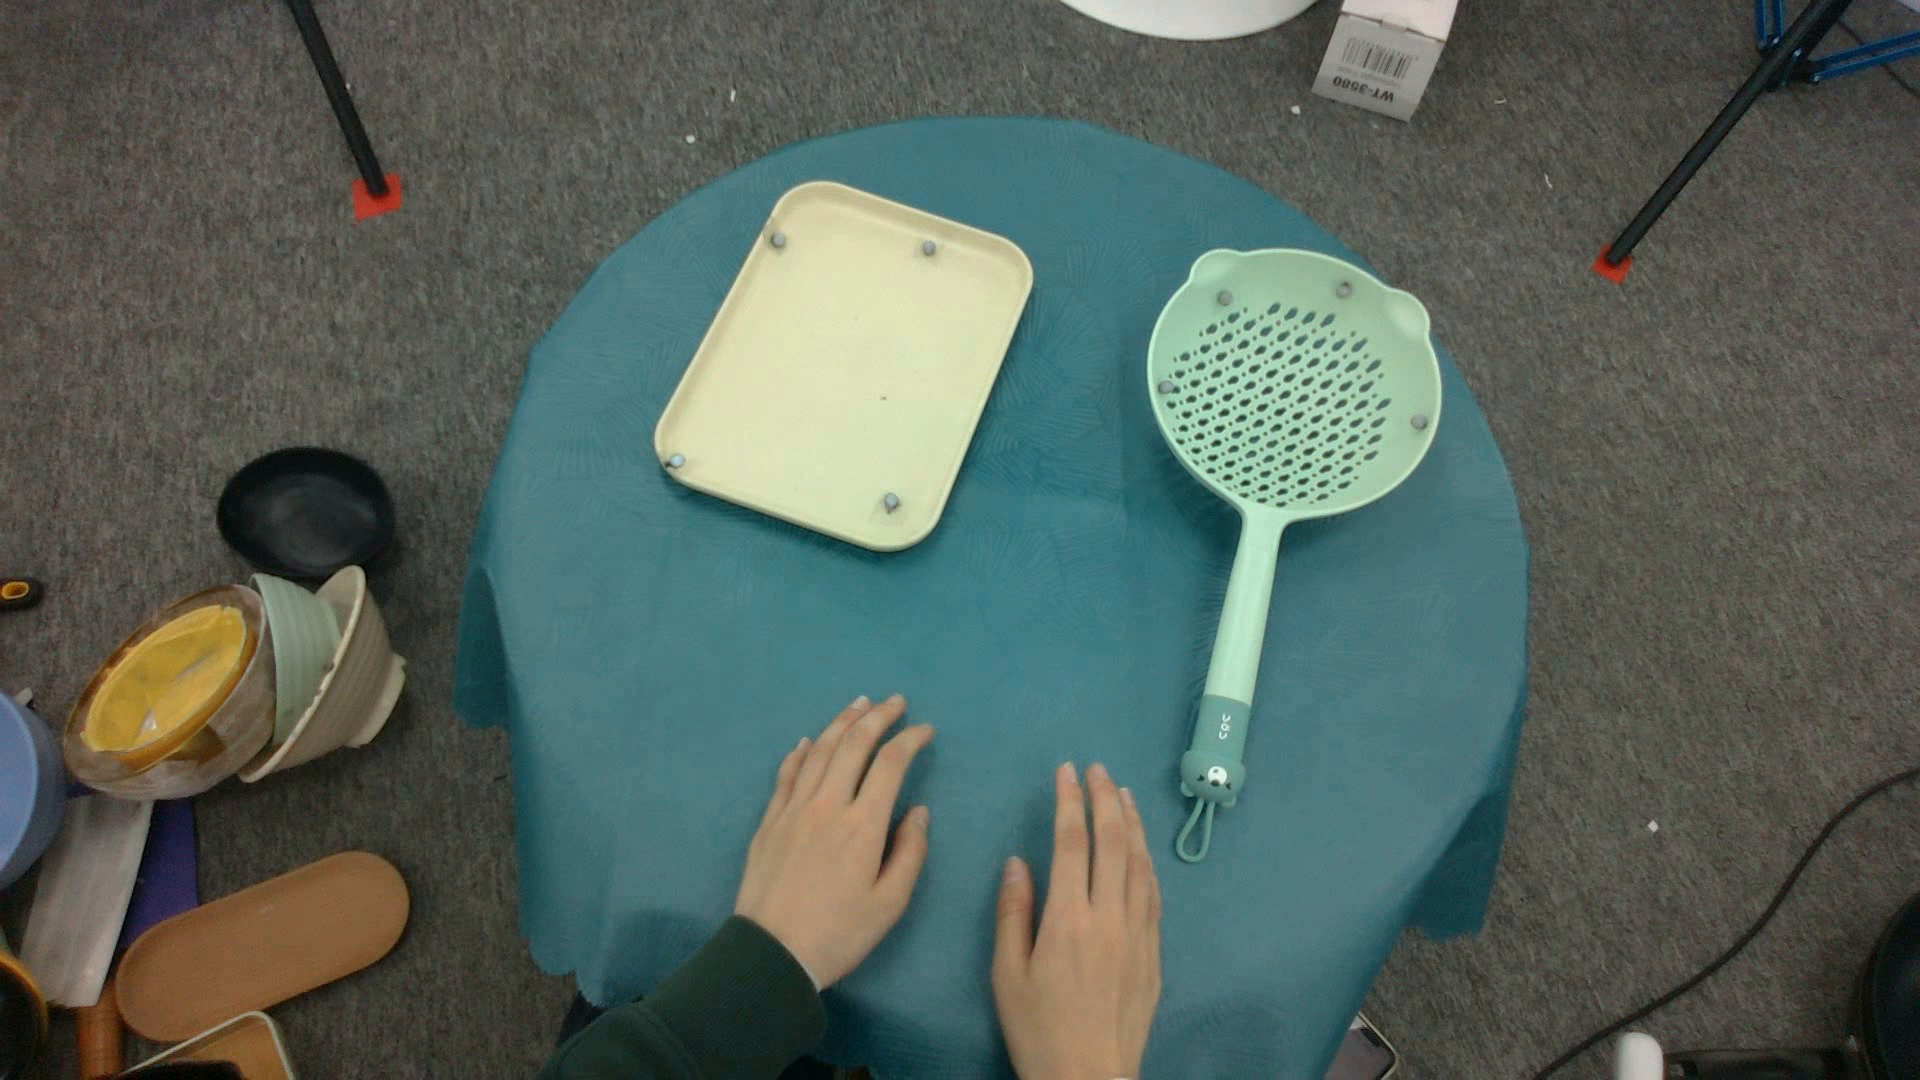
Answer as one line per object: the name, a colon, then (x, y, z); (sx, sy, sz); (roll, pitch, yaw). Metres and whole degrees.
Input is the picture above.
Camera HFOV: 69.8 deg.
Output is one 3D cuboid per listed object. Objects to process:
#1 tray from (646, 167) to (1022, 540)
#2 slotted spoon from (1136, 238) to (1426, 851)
tray: (-0.070, -0.116, 0.824); (0.171, 0.017, 0.241); (19, 62, 3)
slotted spoon: (0.159, -0.007, 0.767); (0.169, 0.075, 0.360); (15, 62, 3)
